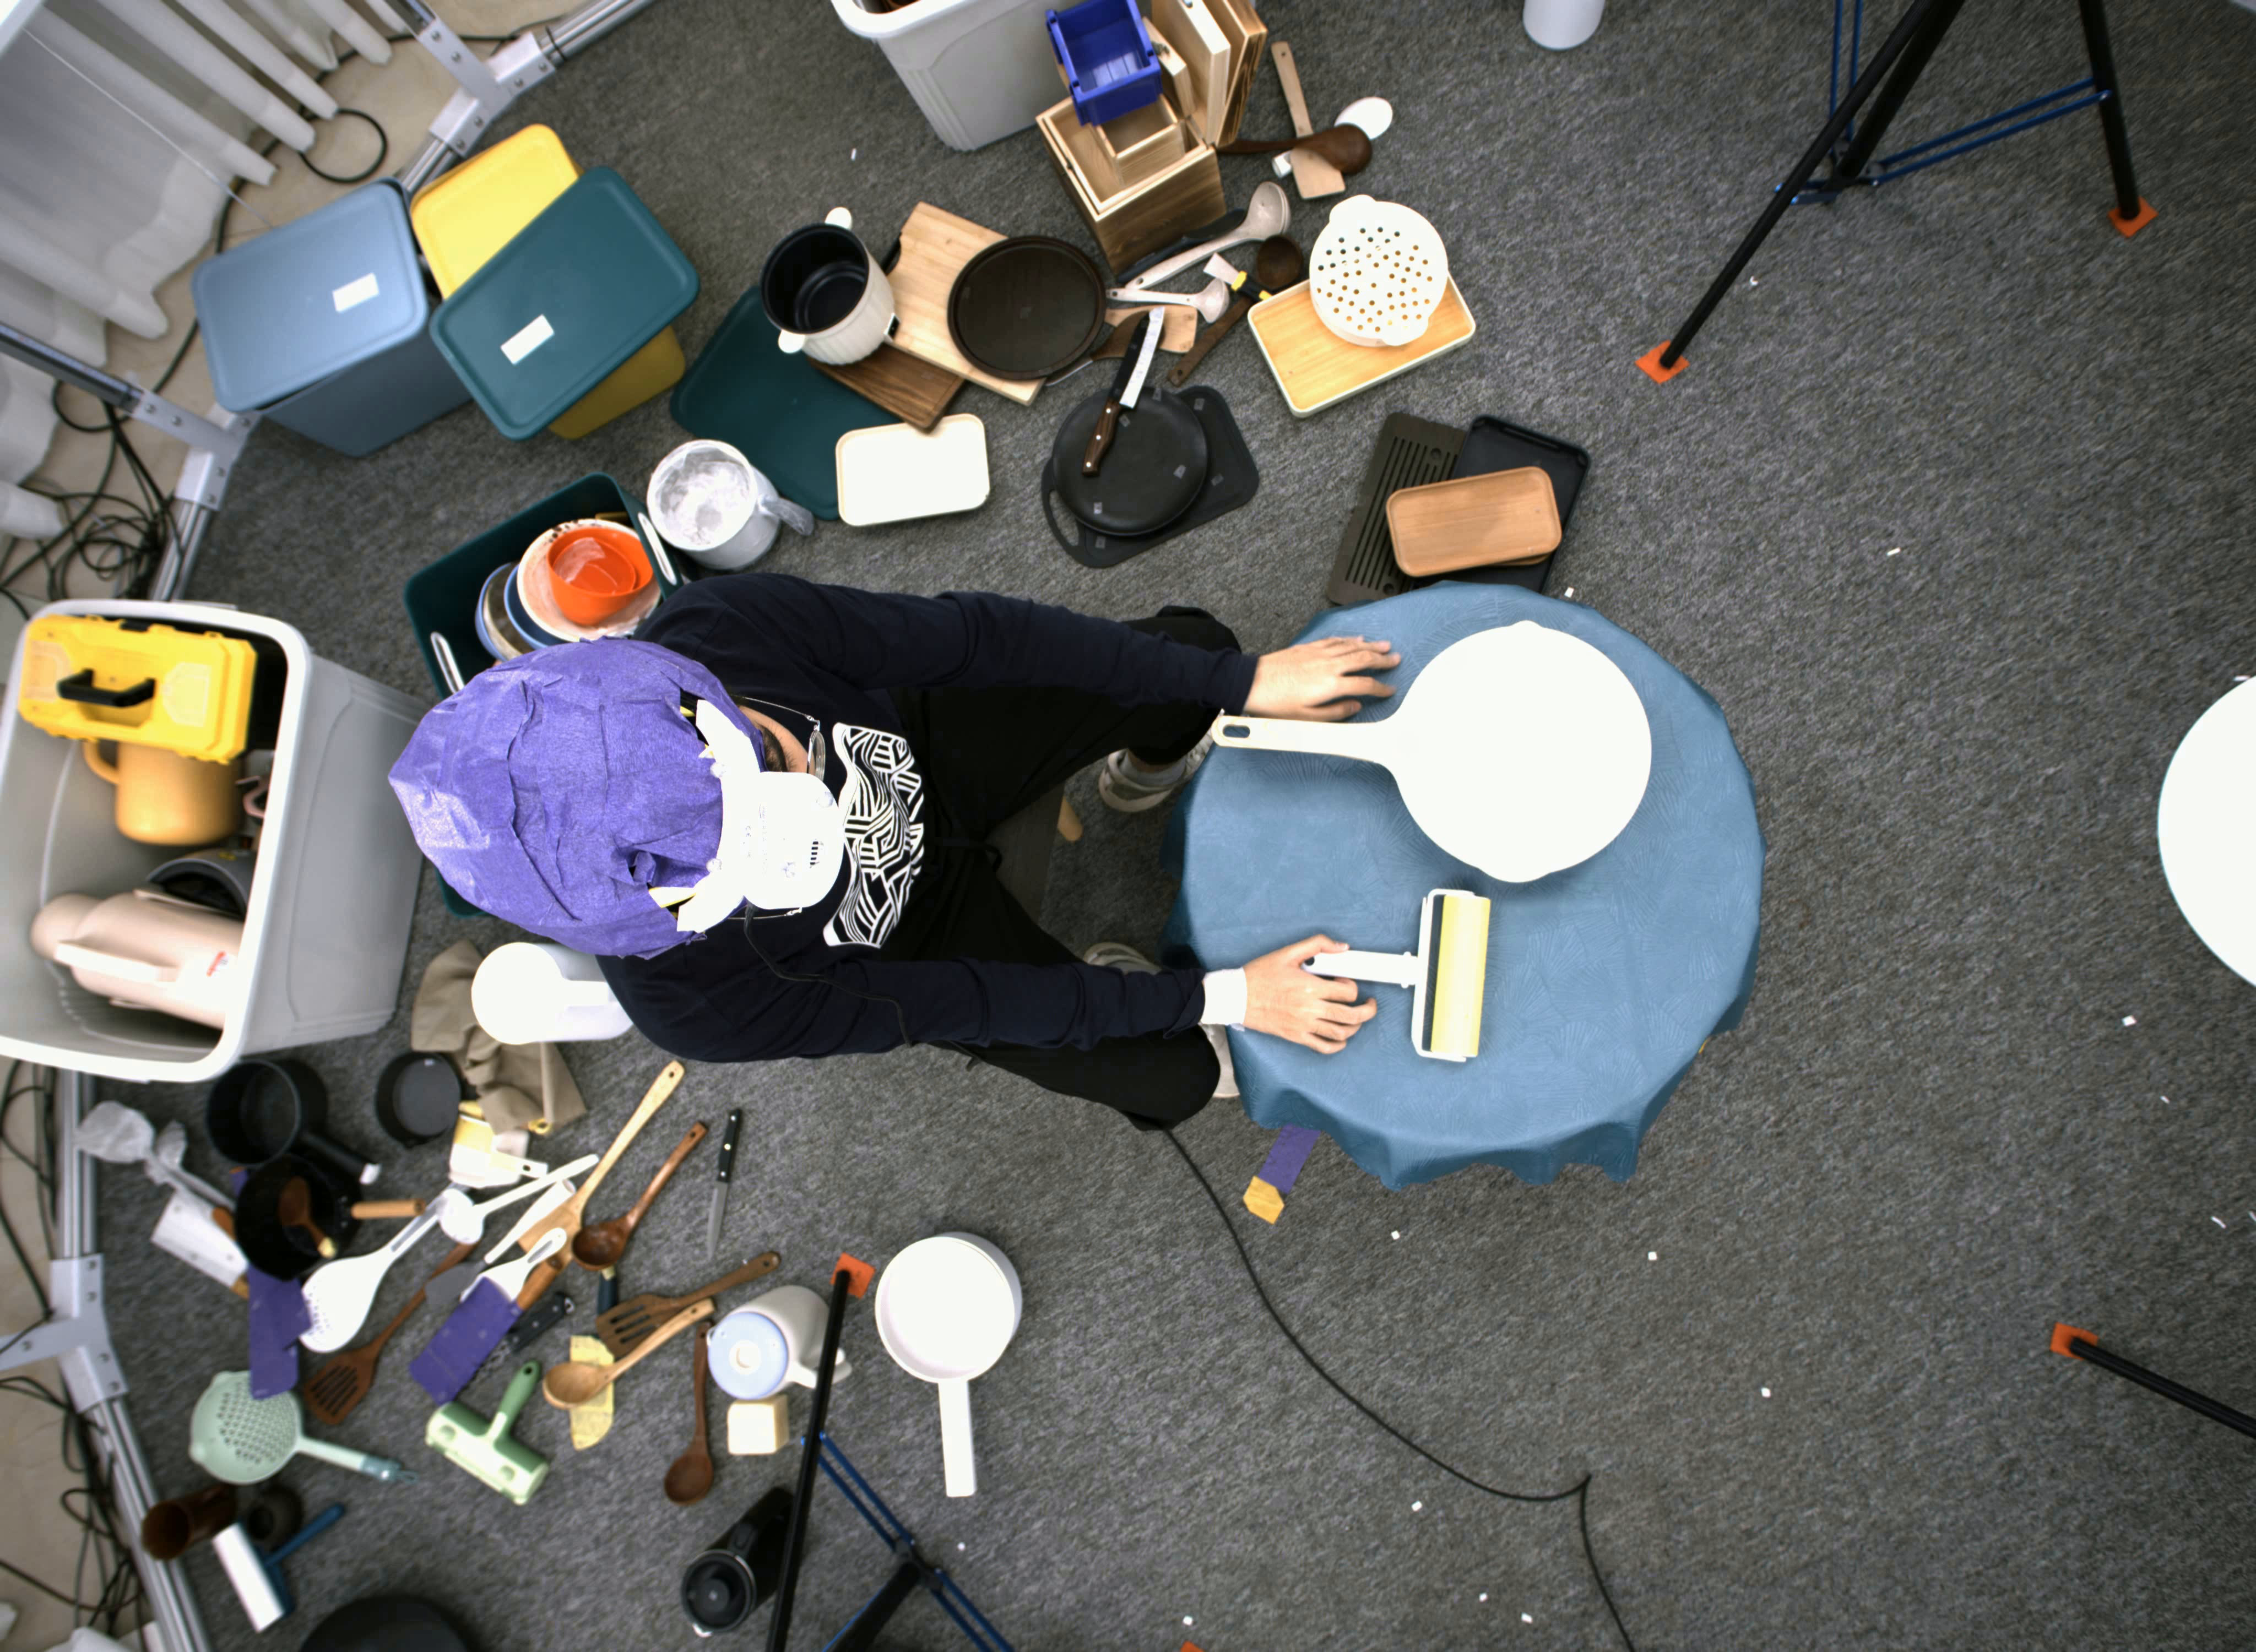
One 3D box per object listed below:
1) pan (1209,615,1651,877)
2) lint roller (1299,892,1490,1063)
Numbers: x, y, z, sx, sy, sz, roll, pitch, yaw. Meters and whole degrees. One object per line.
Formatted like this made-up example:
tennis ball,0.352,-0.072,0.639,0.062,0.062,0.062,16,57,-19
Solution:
pan,0.306,-0.085,1.412,0.436,0.102,0.263,3,89,11
lint roller,0.272,0.149,1.432,0.192,0.051,0.173,5,87,12
